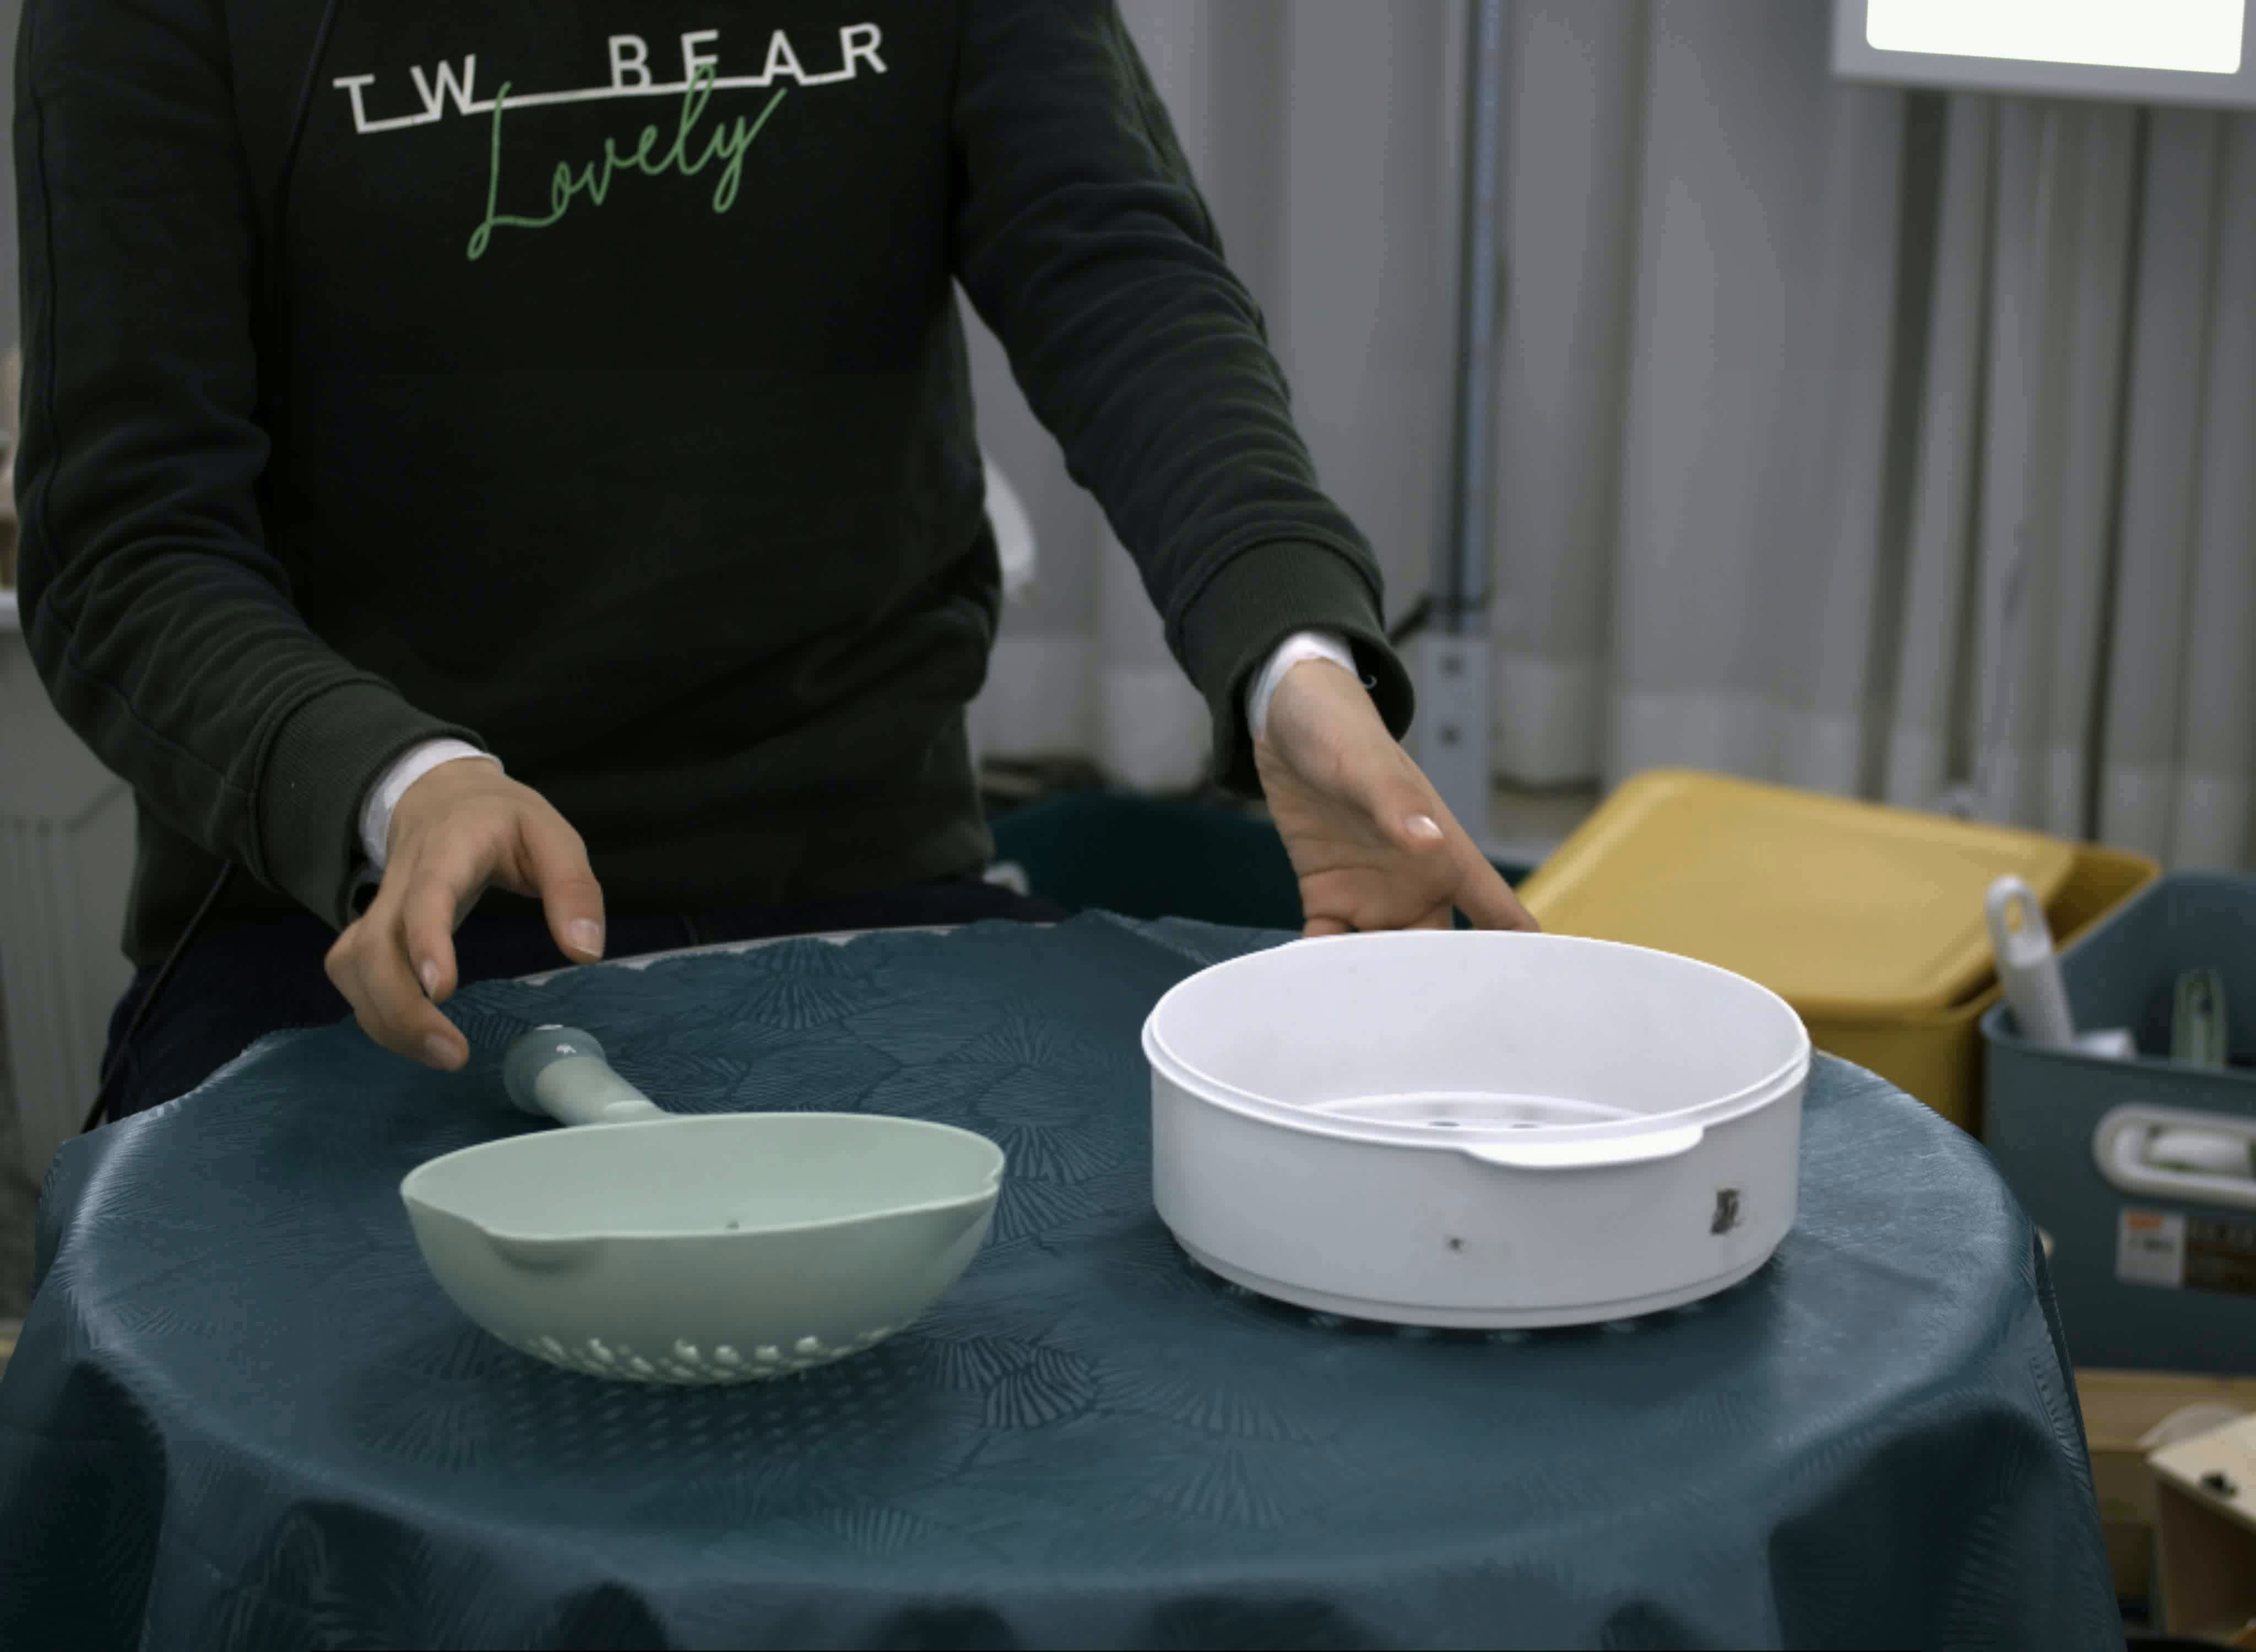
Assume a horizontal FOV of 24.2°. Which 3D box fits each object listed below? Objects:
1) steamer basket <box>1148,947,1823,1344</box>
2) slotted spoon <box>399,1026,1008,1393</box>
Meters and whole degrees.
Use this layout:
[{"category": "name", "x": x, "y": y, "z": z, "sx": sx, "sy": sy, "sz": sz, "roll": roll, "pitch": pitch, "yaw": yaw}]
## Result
[{"category": "steamer basket", "x": 0.106, "y": 0.095, "z": 1.578, "sx": 0.202, "sy": 0.070, "sz": 0.228, "roll": -3, "pitch": 16, "yaw": -16}, {"category": "slotted spoon", "x": -0.144, "y": 0.097, "z": 1.558, "sx": 0.169, "sy": 0.076, "sz": 0.355, "roll": -3, "pitch": 16, "yaw": -16}]
